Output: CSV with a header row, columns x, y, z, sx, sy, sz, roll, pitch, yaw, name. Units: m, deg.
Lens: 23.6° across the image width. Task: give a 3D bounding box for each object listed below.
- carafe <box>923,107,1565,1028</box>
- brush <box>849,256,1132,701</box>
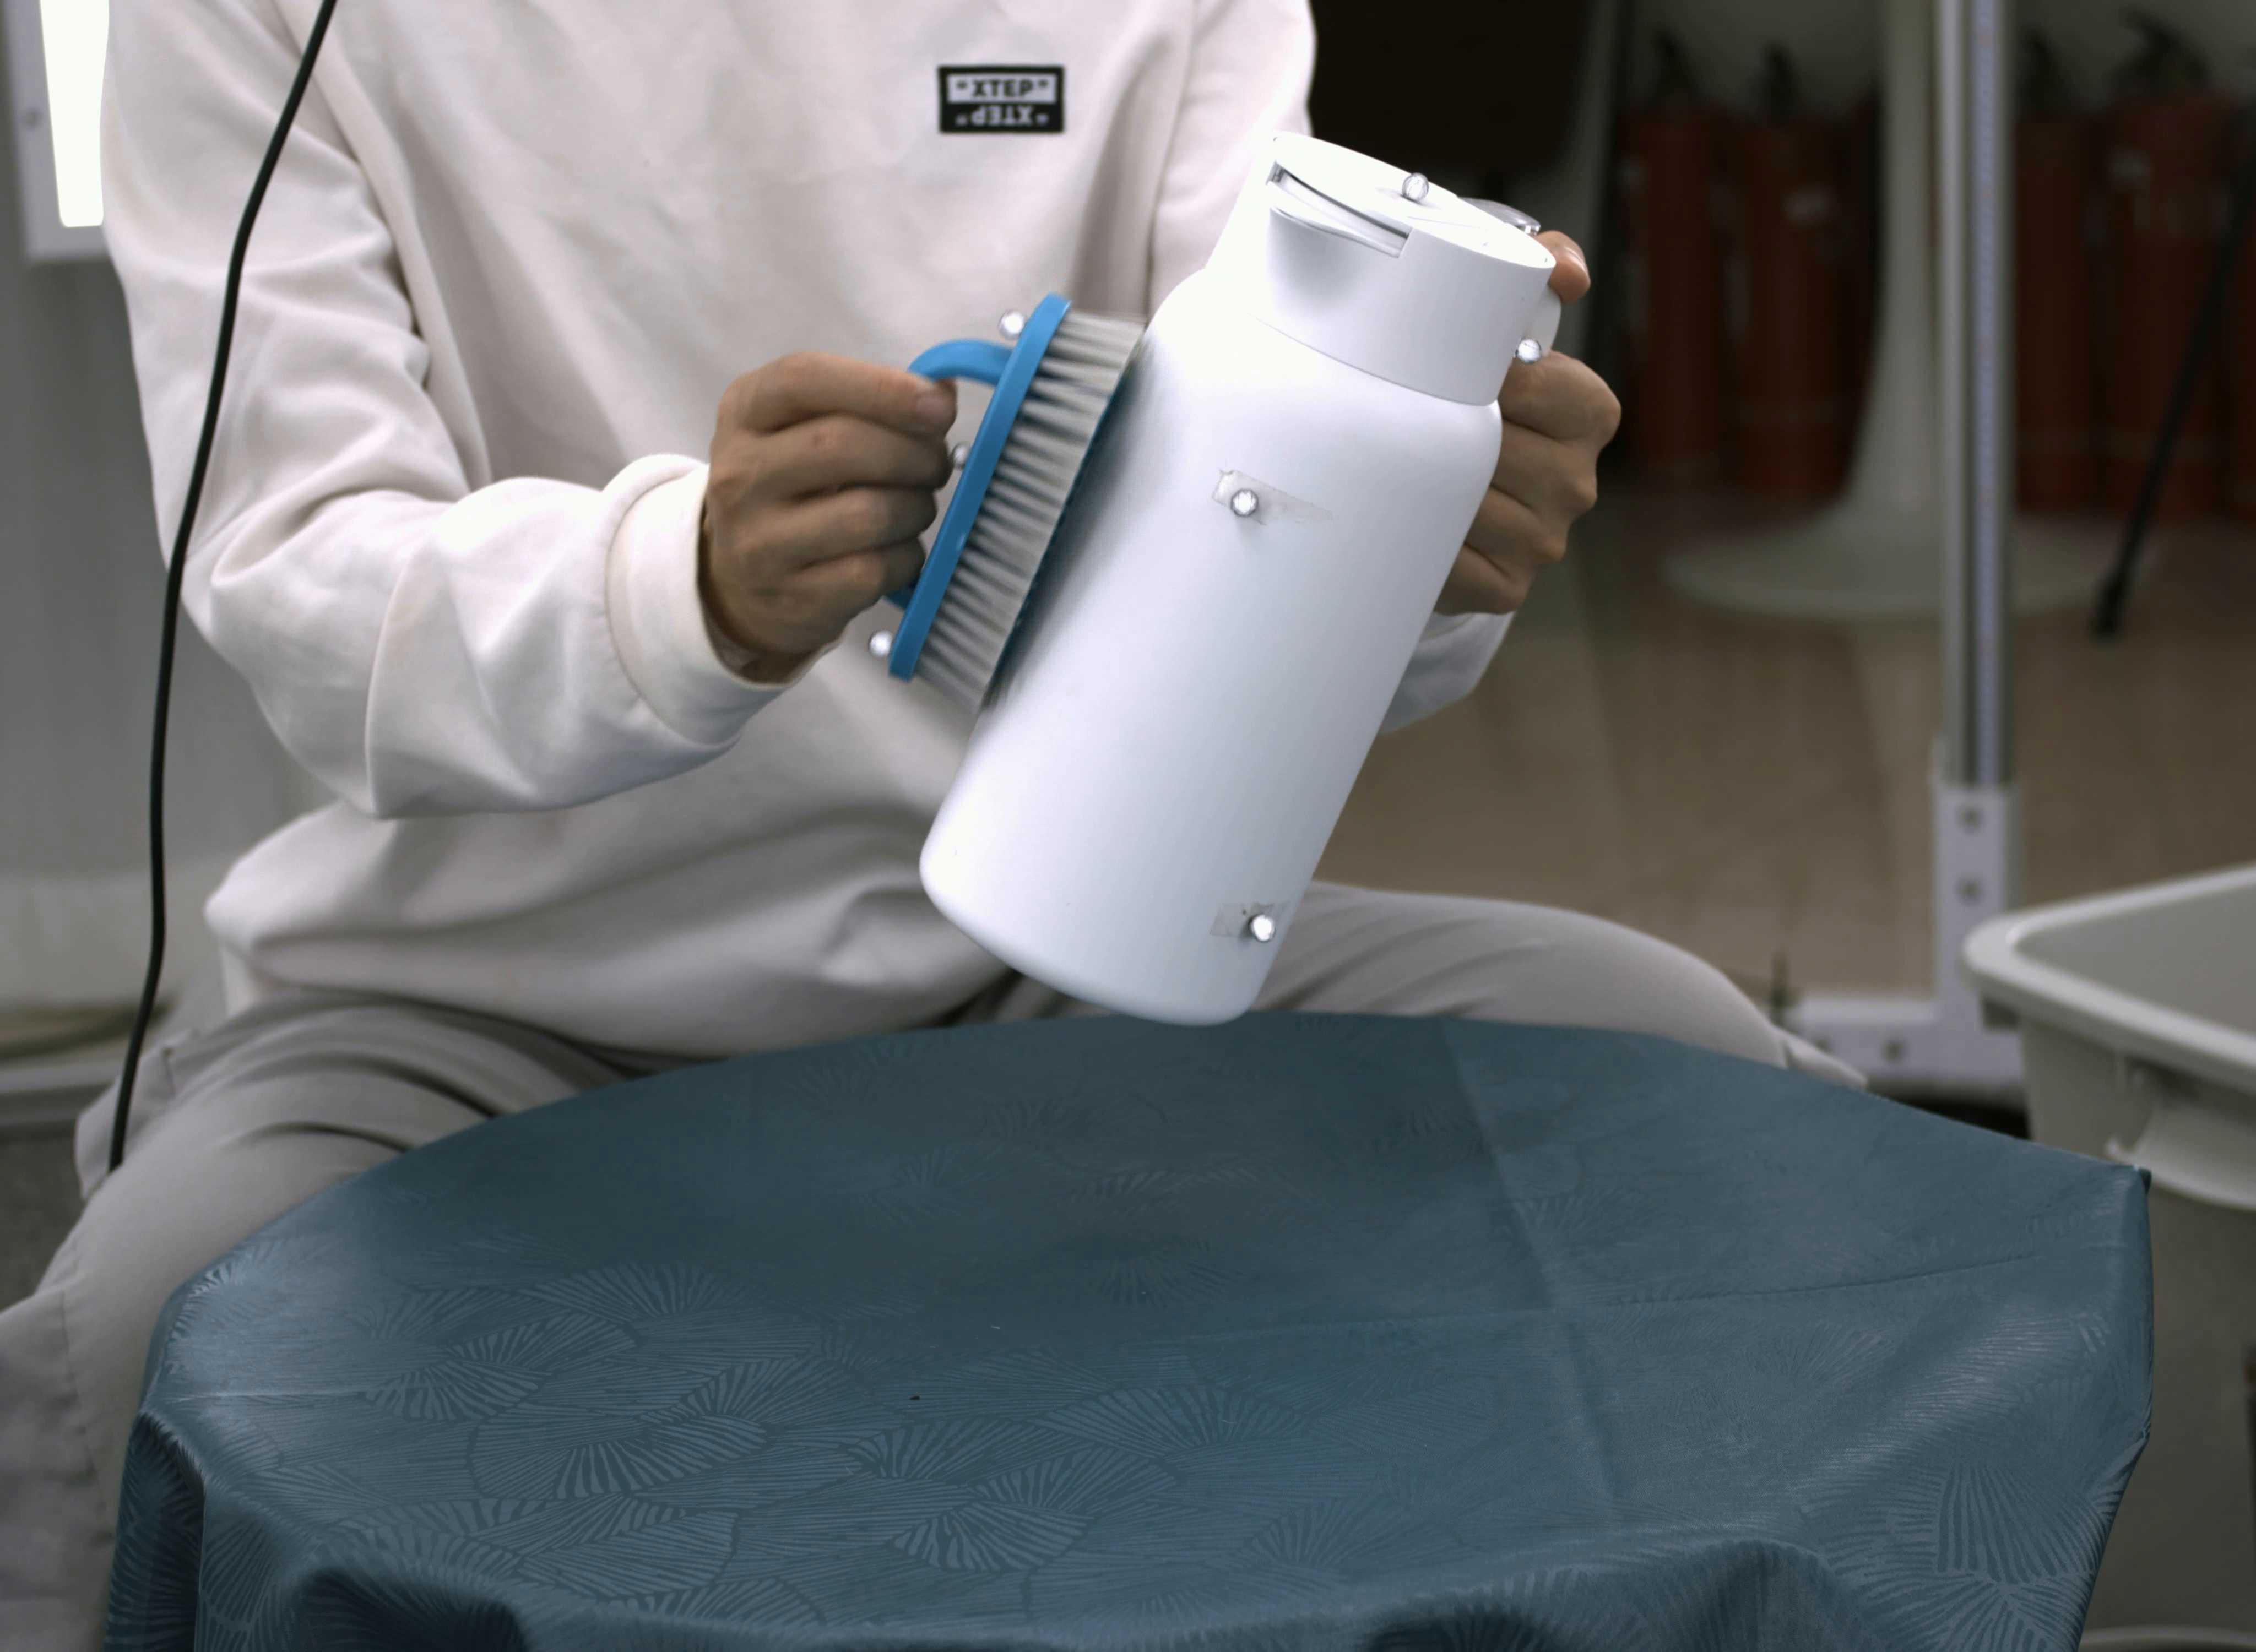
x,y,z,sx,sy,sz,roll,pitch,yaw,name
0.044,-0.080,1.694,0.125,0.272,0.169,29,16,29,carafe
-0.049,-0.111,1.676,0.063,0.143,0.084,20,31,-2,brush
